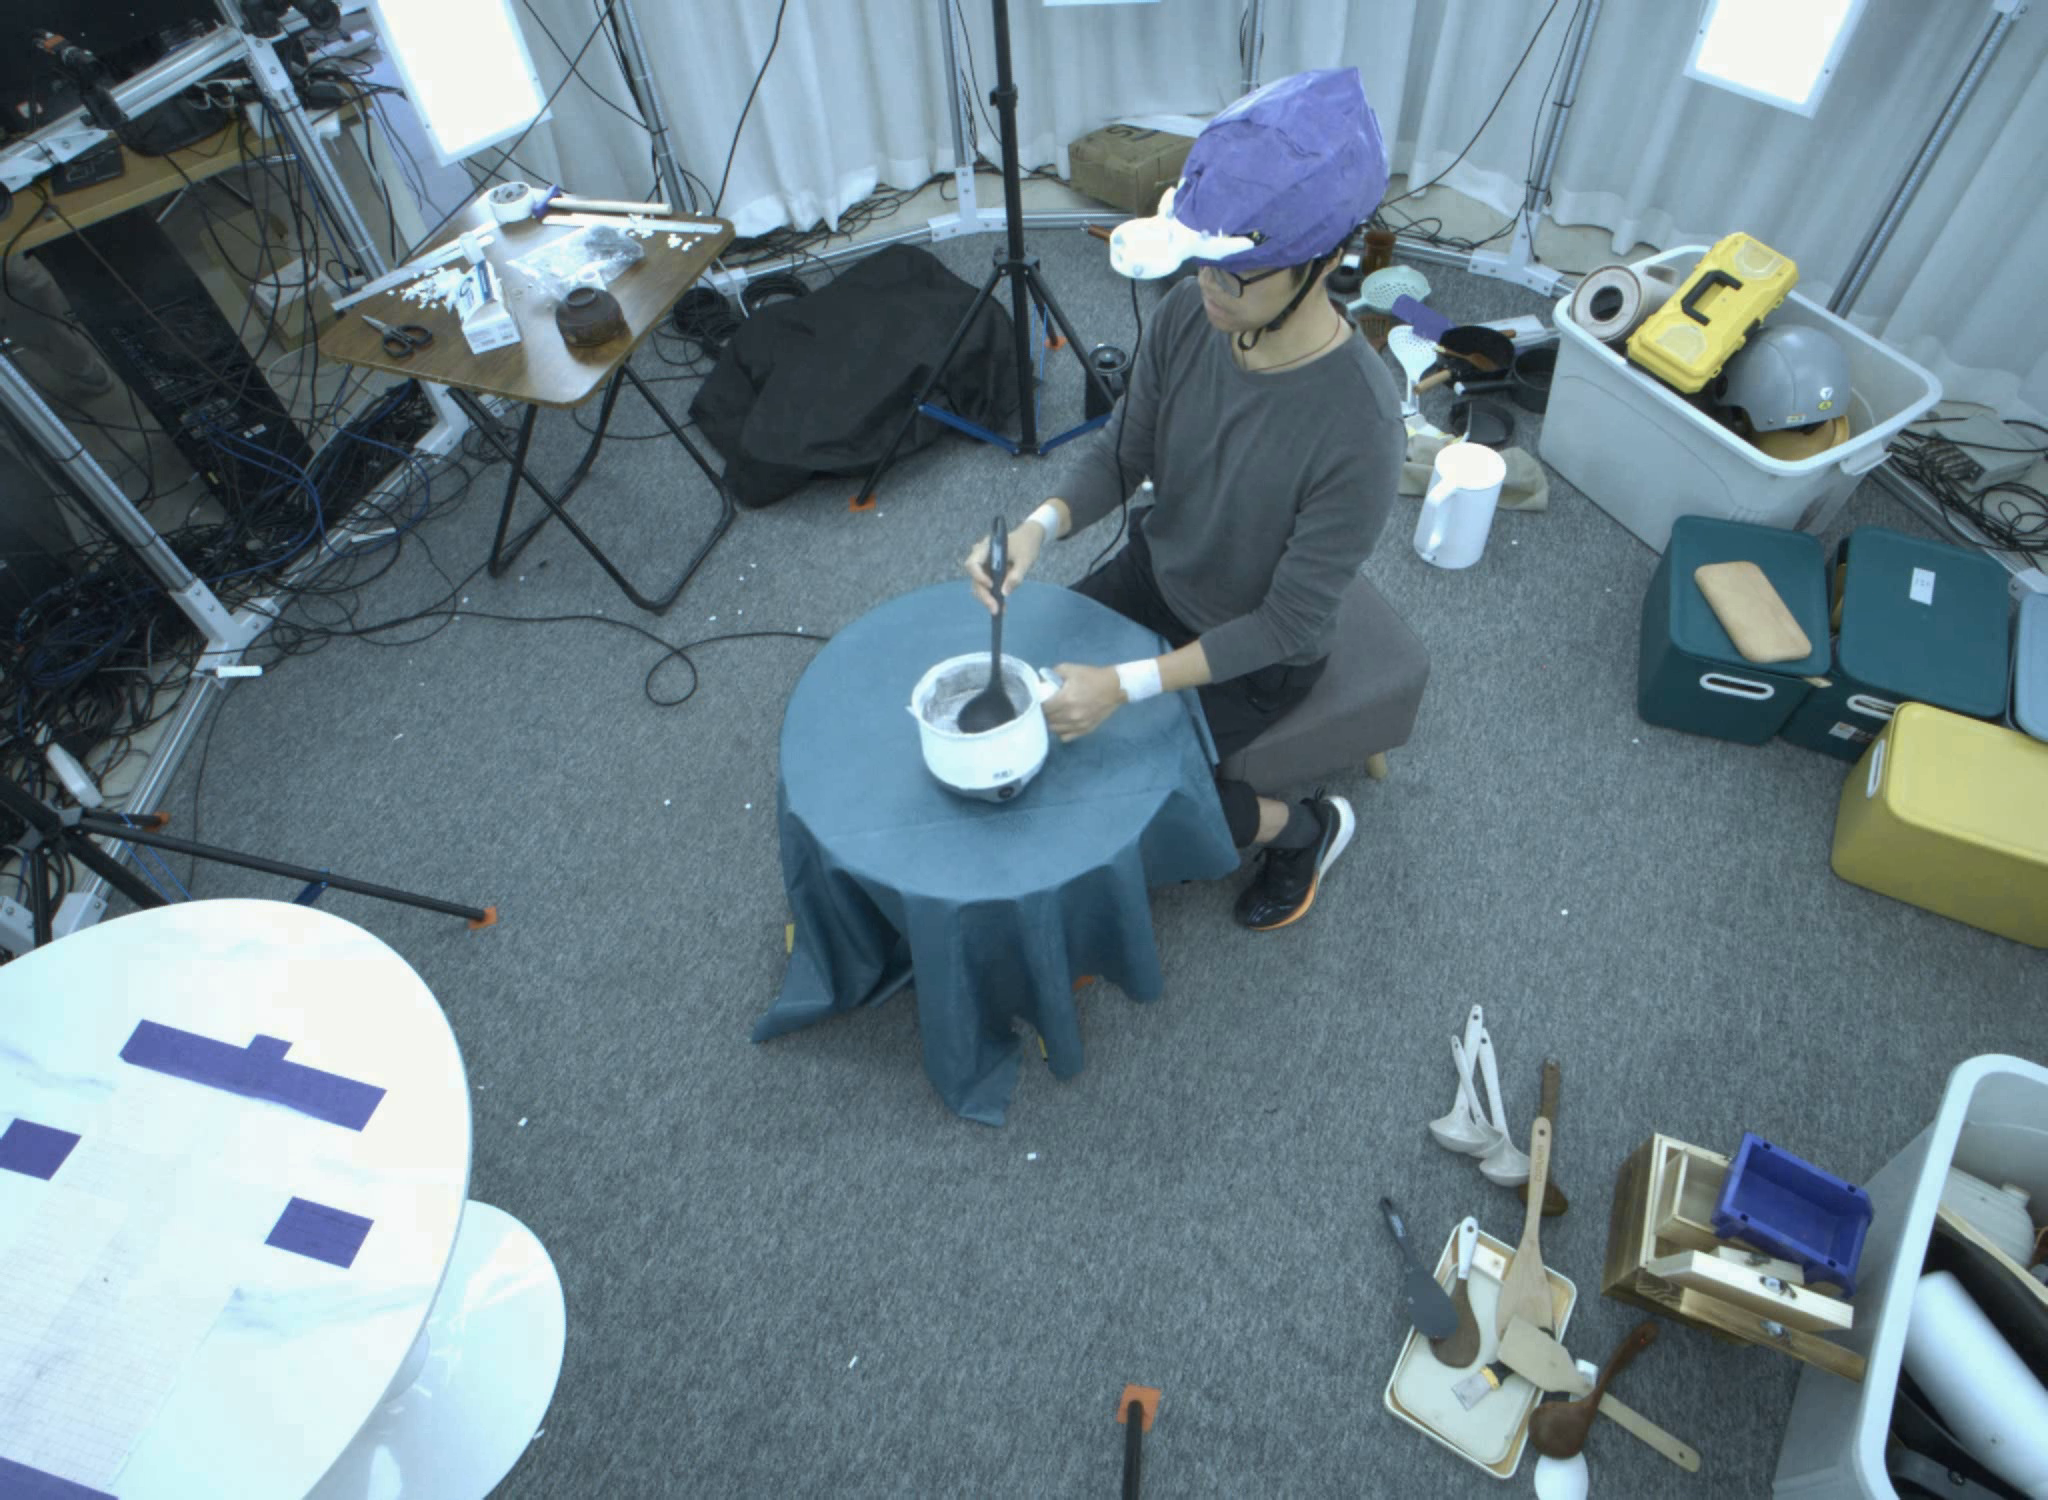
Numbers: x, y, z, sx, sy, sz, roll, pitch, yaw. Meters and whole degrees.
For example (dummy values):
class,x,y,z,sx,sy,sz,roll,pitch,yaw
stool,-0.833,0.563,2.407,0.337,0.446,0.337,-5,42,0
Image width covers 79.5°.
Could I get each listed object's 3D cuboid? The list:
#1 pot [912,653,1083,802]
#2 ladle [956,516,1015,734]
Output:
class,x,y,z,sx,sy,sz,roll,pitch,yaw
pot,-0.033,-0.040,1.730,0.235,0.138,0.175,-19,45,-12
ladle,-0.047,-0.160,1.676,0.085,0.316,0.064,9,26,13
